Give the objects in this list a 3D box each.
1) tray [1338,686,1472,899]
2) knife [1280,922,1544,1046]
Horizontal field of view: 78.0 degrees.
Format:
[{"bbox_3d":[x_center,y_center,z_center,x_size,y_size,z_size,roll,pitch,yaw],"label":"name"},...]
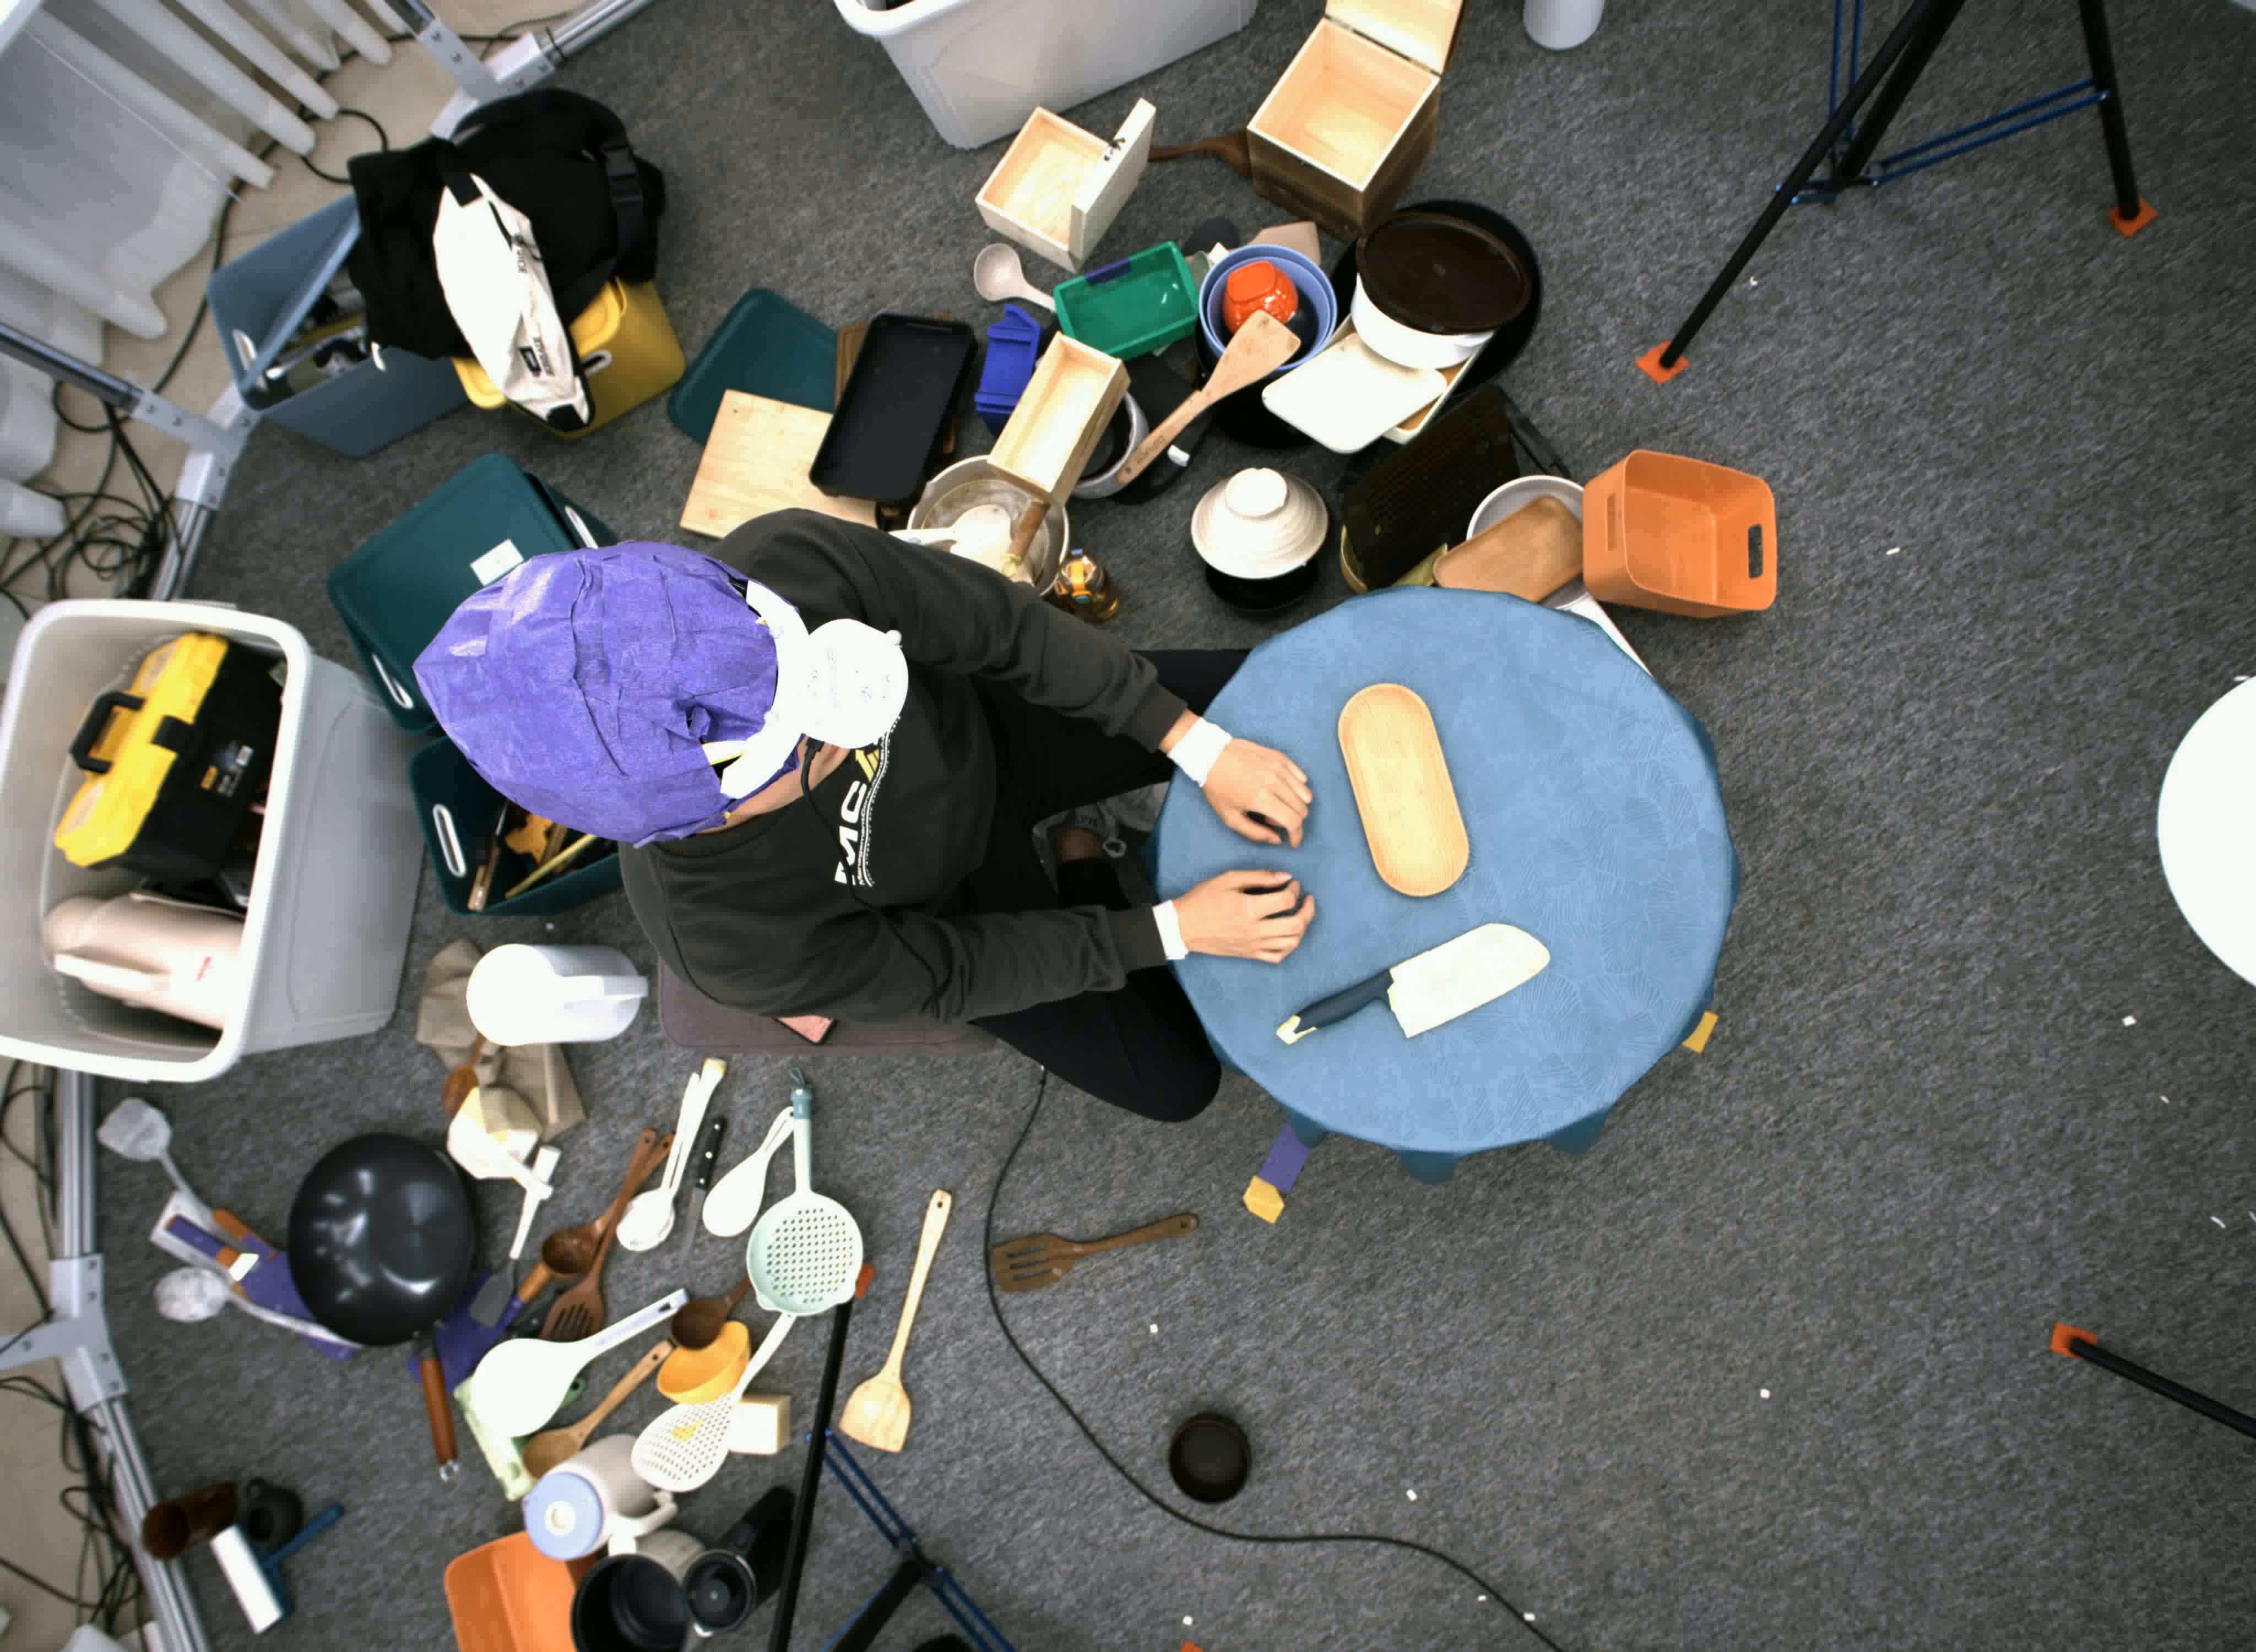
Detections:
[{"bbox_3d":[0.292,-0.038,1.454,0.102,0.020,0.230,-16,85,11],"label":"tray"},{"bbox_3d":[0.298,0.174,1.442,0.291,0.027,0.080,-23,81,8],"label":"knife"}]
